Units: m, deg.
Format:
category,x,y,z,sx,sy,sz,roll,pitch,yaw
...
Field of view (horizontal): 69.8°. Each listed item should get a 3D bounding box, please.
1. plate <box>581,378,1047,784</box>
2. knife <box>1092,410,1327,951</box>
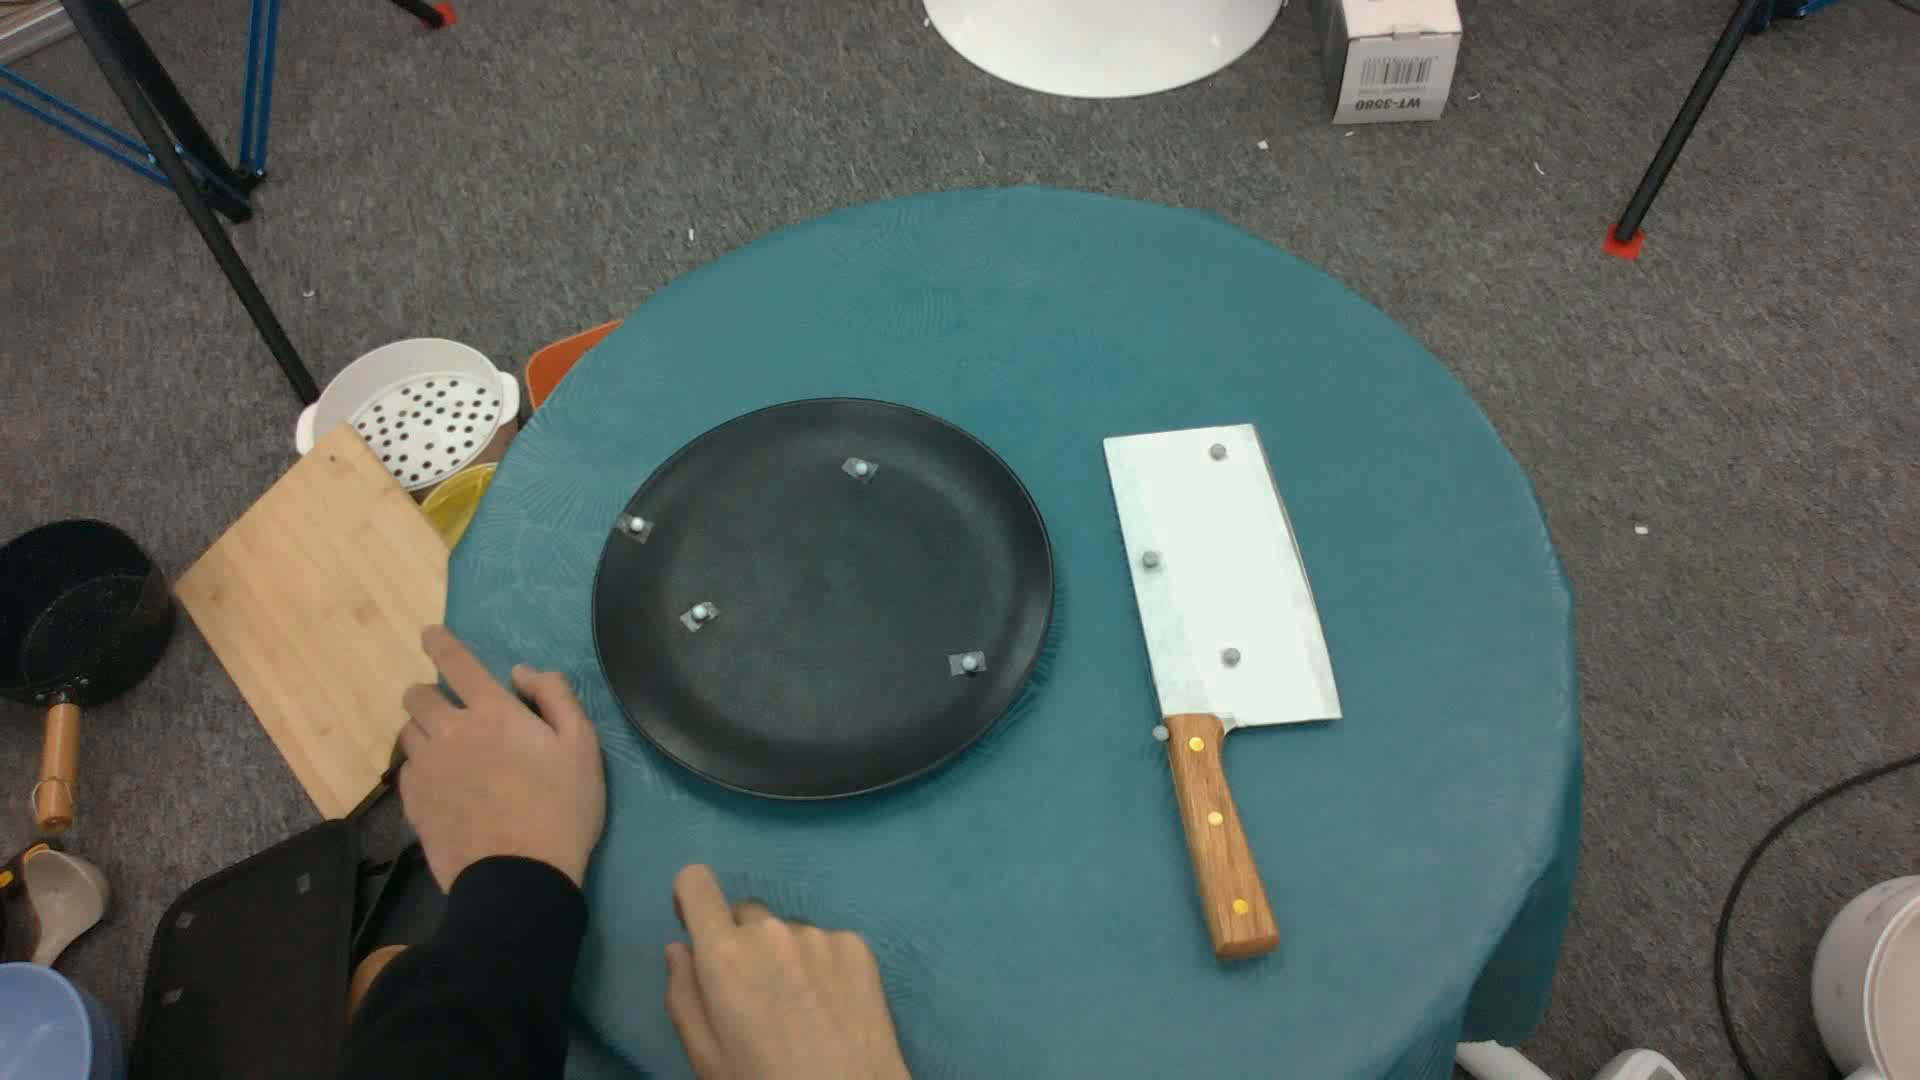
category,x,y,z,sx,sy,sz,roll,pitch,yaw
plate,-0.075,0.016,0.727,0.244,0.023,0.245,0,58,1
knife,0.135,0.054,0.705,0.093,0.021,0.307,-5,56,-4
